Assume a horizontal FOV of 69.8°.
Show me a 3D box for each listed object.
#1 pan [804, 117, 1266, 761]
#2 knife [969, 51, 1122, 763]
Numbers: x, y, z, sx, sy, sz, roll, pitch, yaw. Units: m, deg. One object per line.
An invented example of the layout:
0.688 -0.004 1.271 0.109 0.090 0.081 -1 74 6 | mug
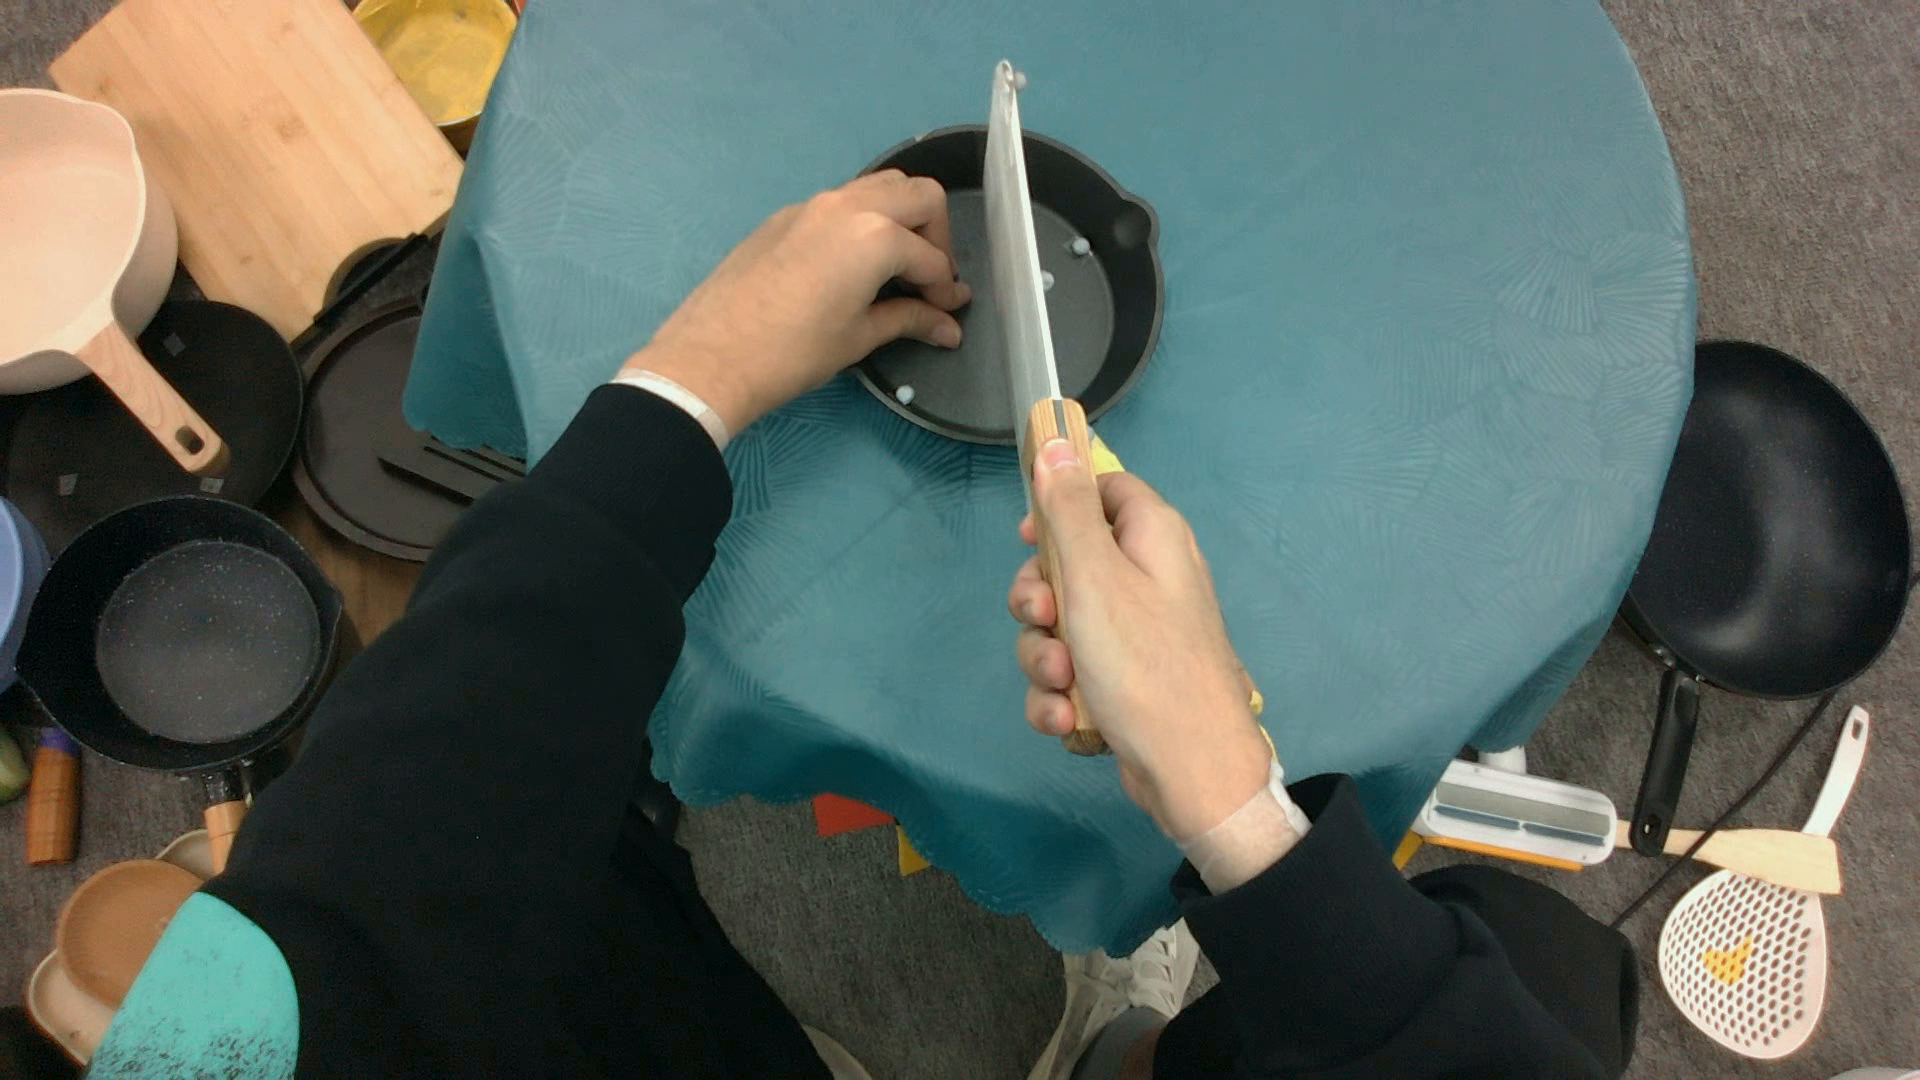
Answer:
0.045 -0.046 0.609 0.169 0.049 0.324 -24 77 -14 | pan
0.025 -0.061 0.540 0.022 0.113 0.316 -3 57 -7 | knife
